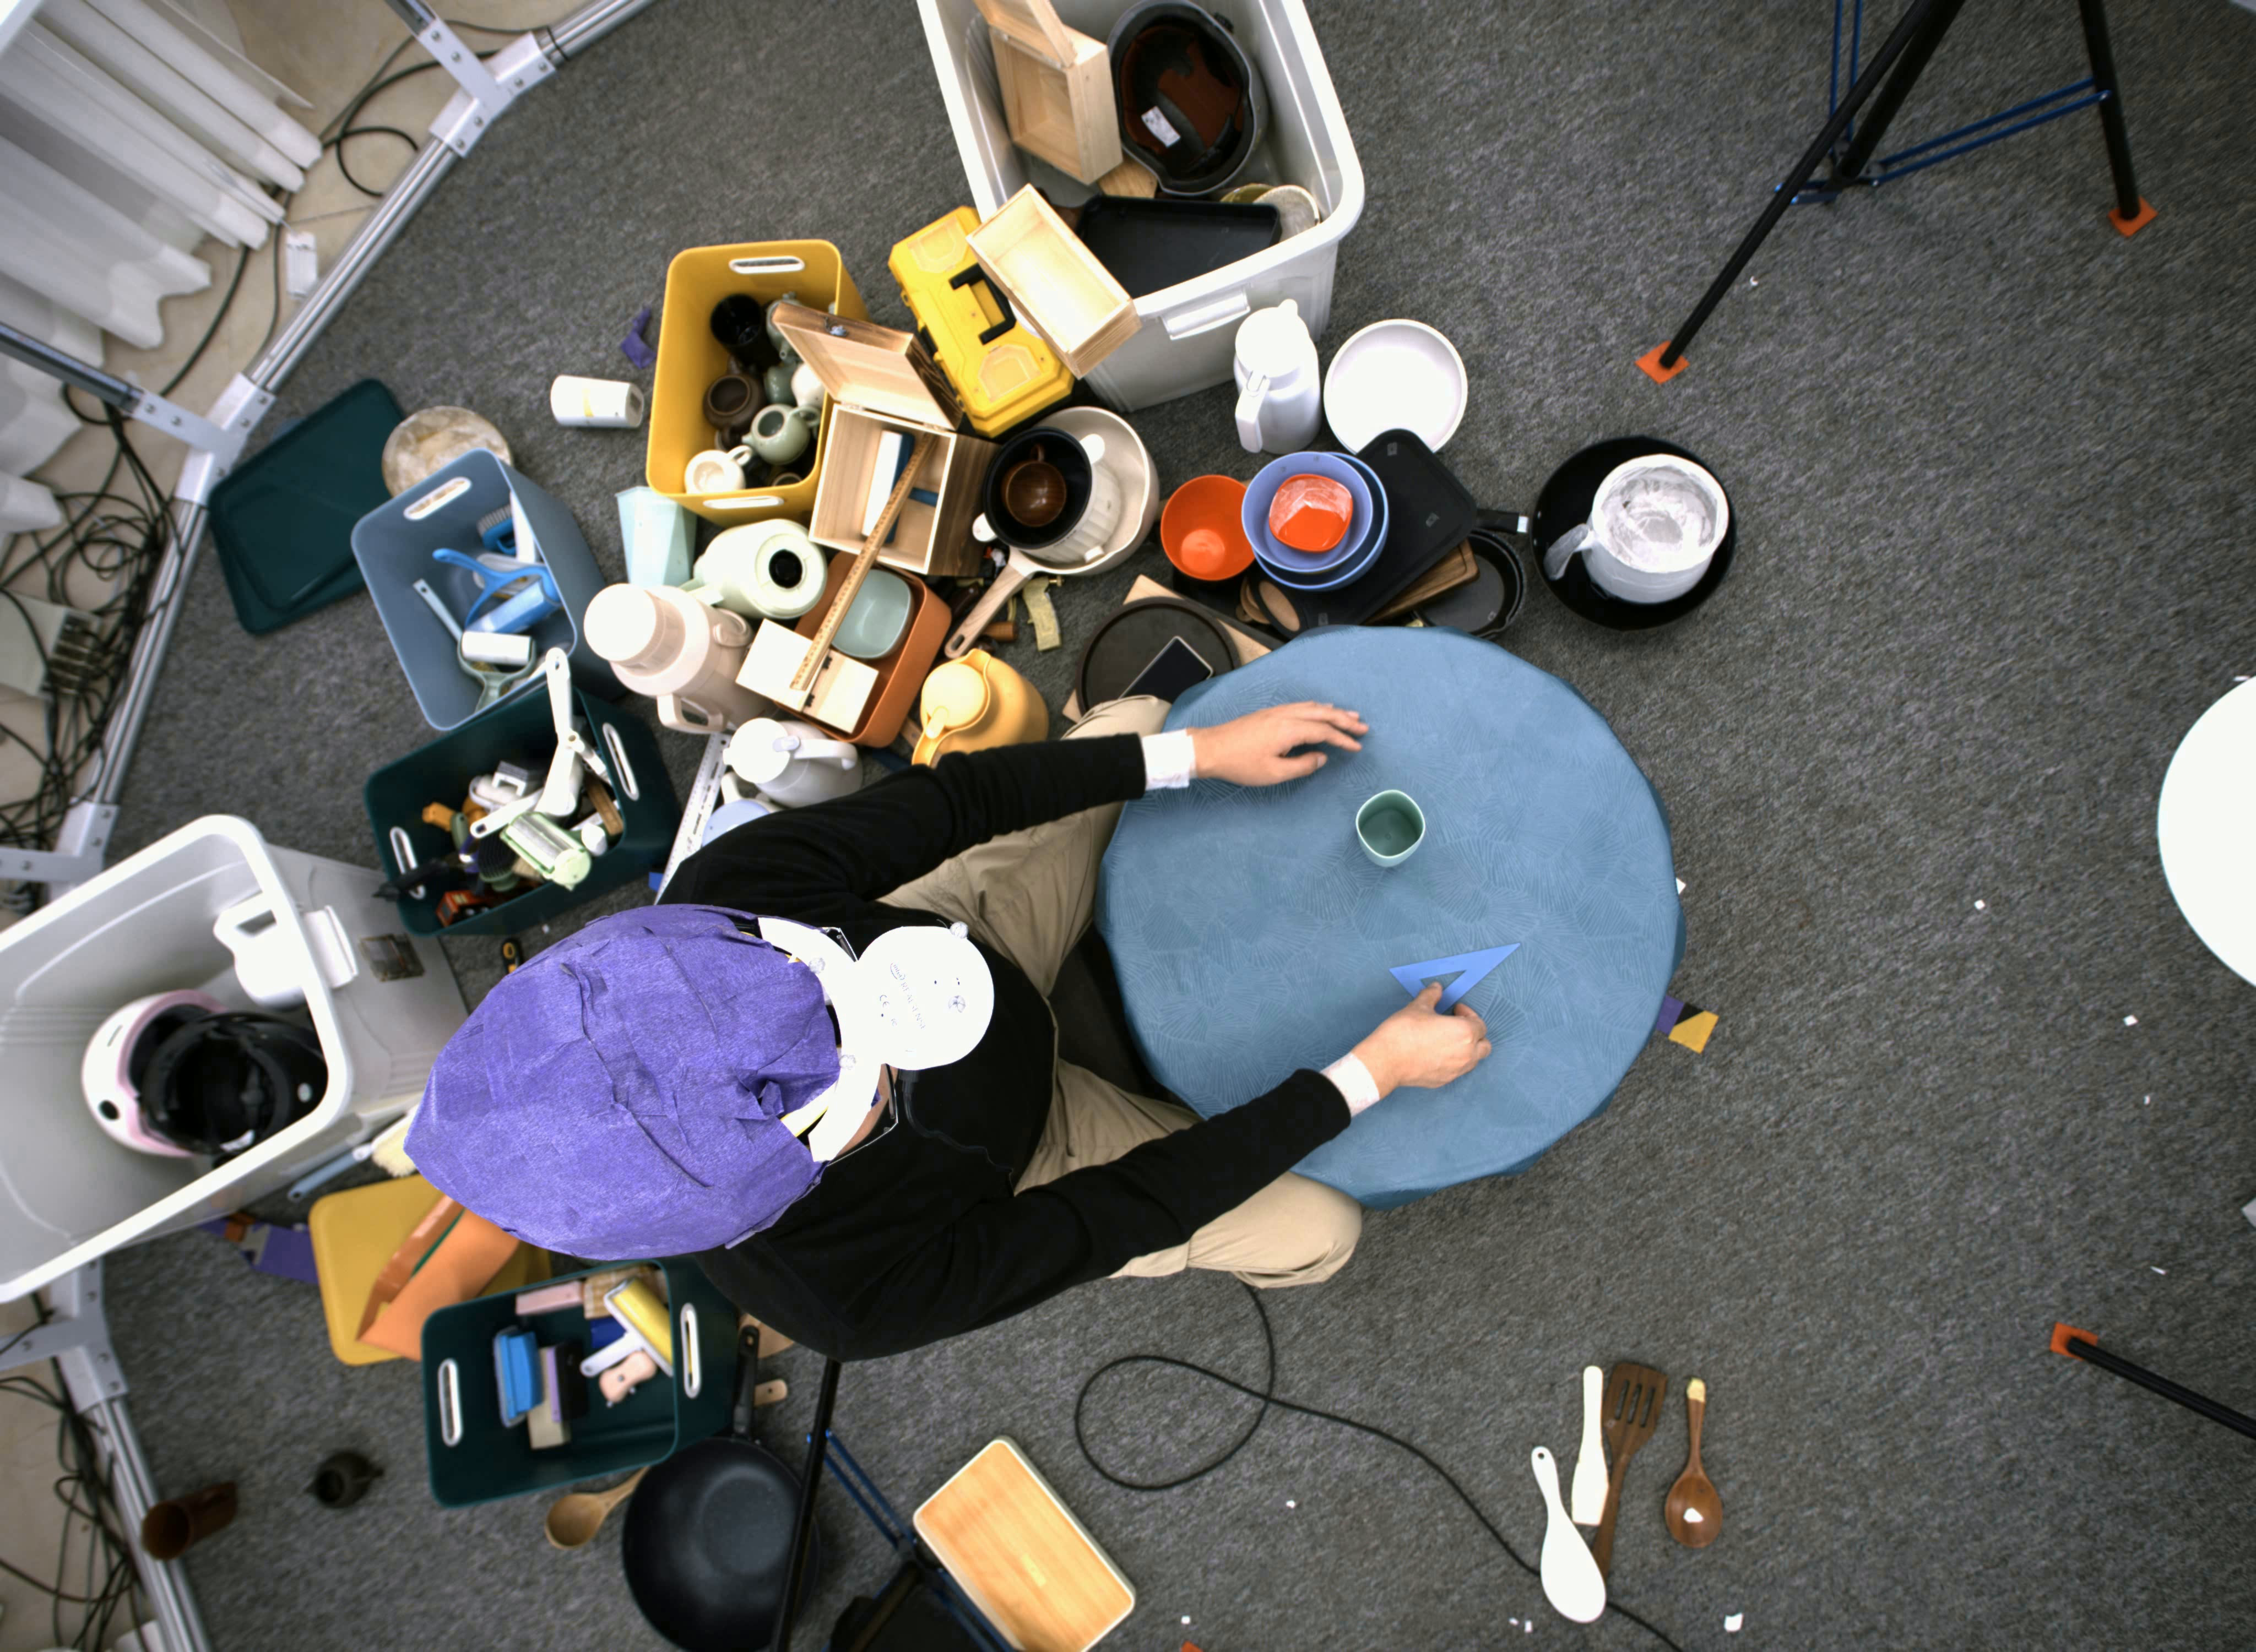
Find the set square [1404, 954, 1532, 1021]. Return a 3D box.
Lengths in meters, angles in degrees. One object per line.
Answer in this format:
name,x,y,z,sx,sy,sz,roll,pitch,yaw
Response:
set square,0.357,0.167,1.437,0.132,0.006,0.061,-8,84,10

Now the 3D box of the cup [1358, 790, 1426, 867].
cup,0.265,0.004,1.402,0.067,0.132,0.066,-1,84,9
